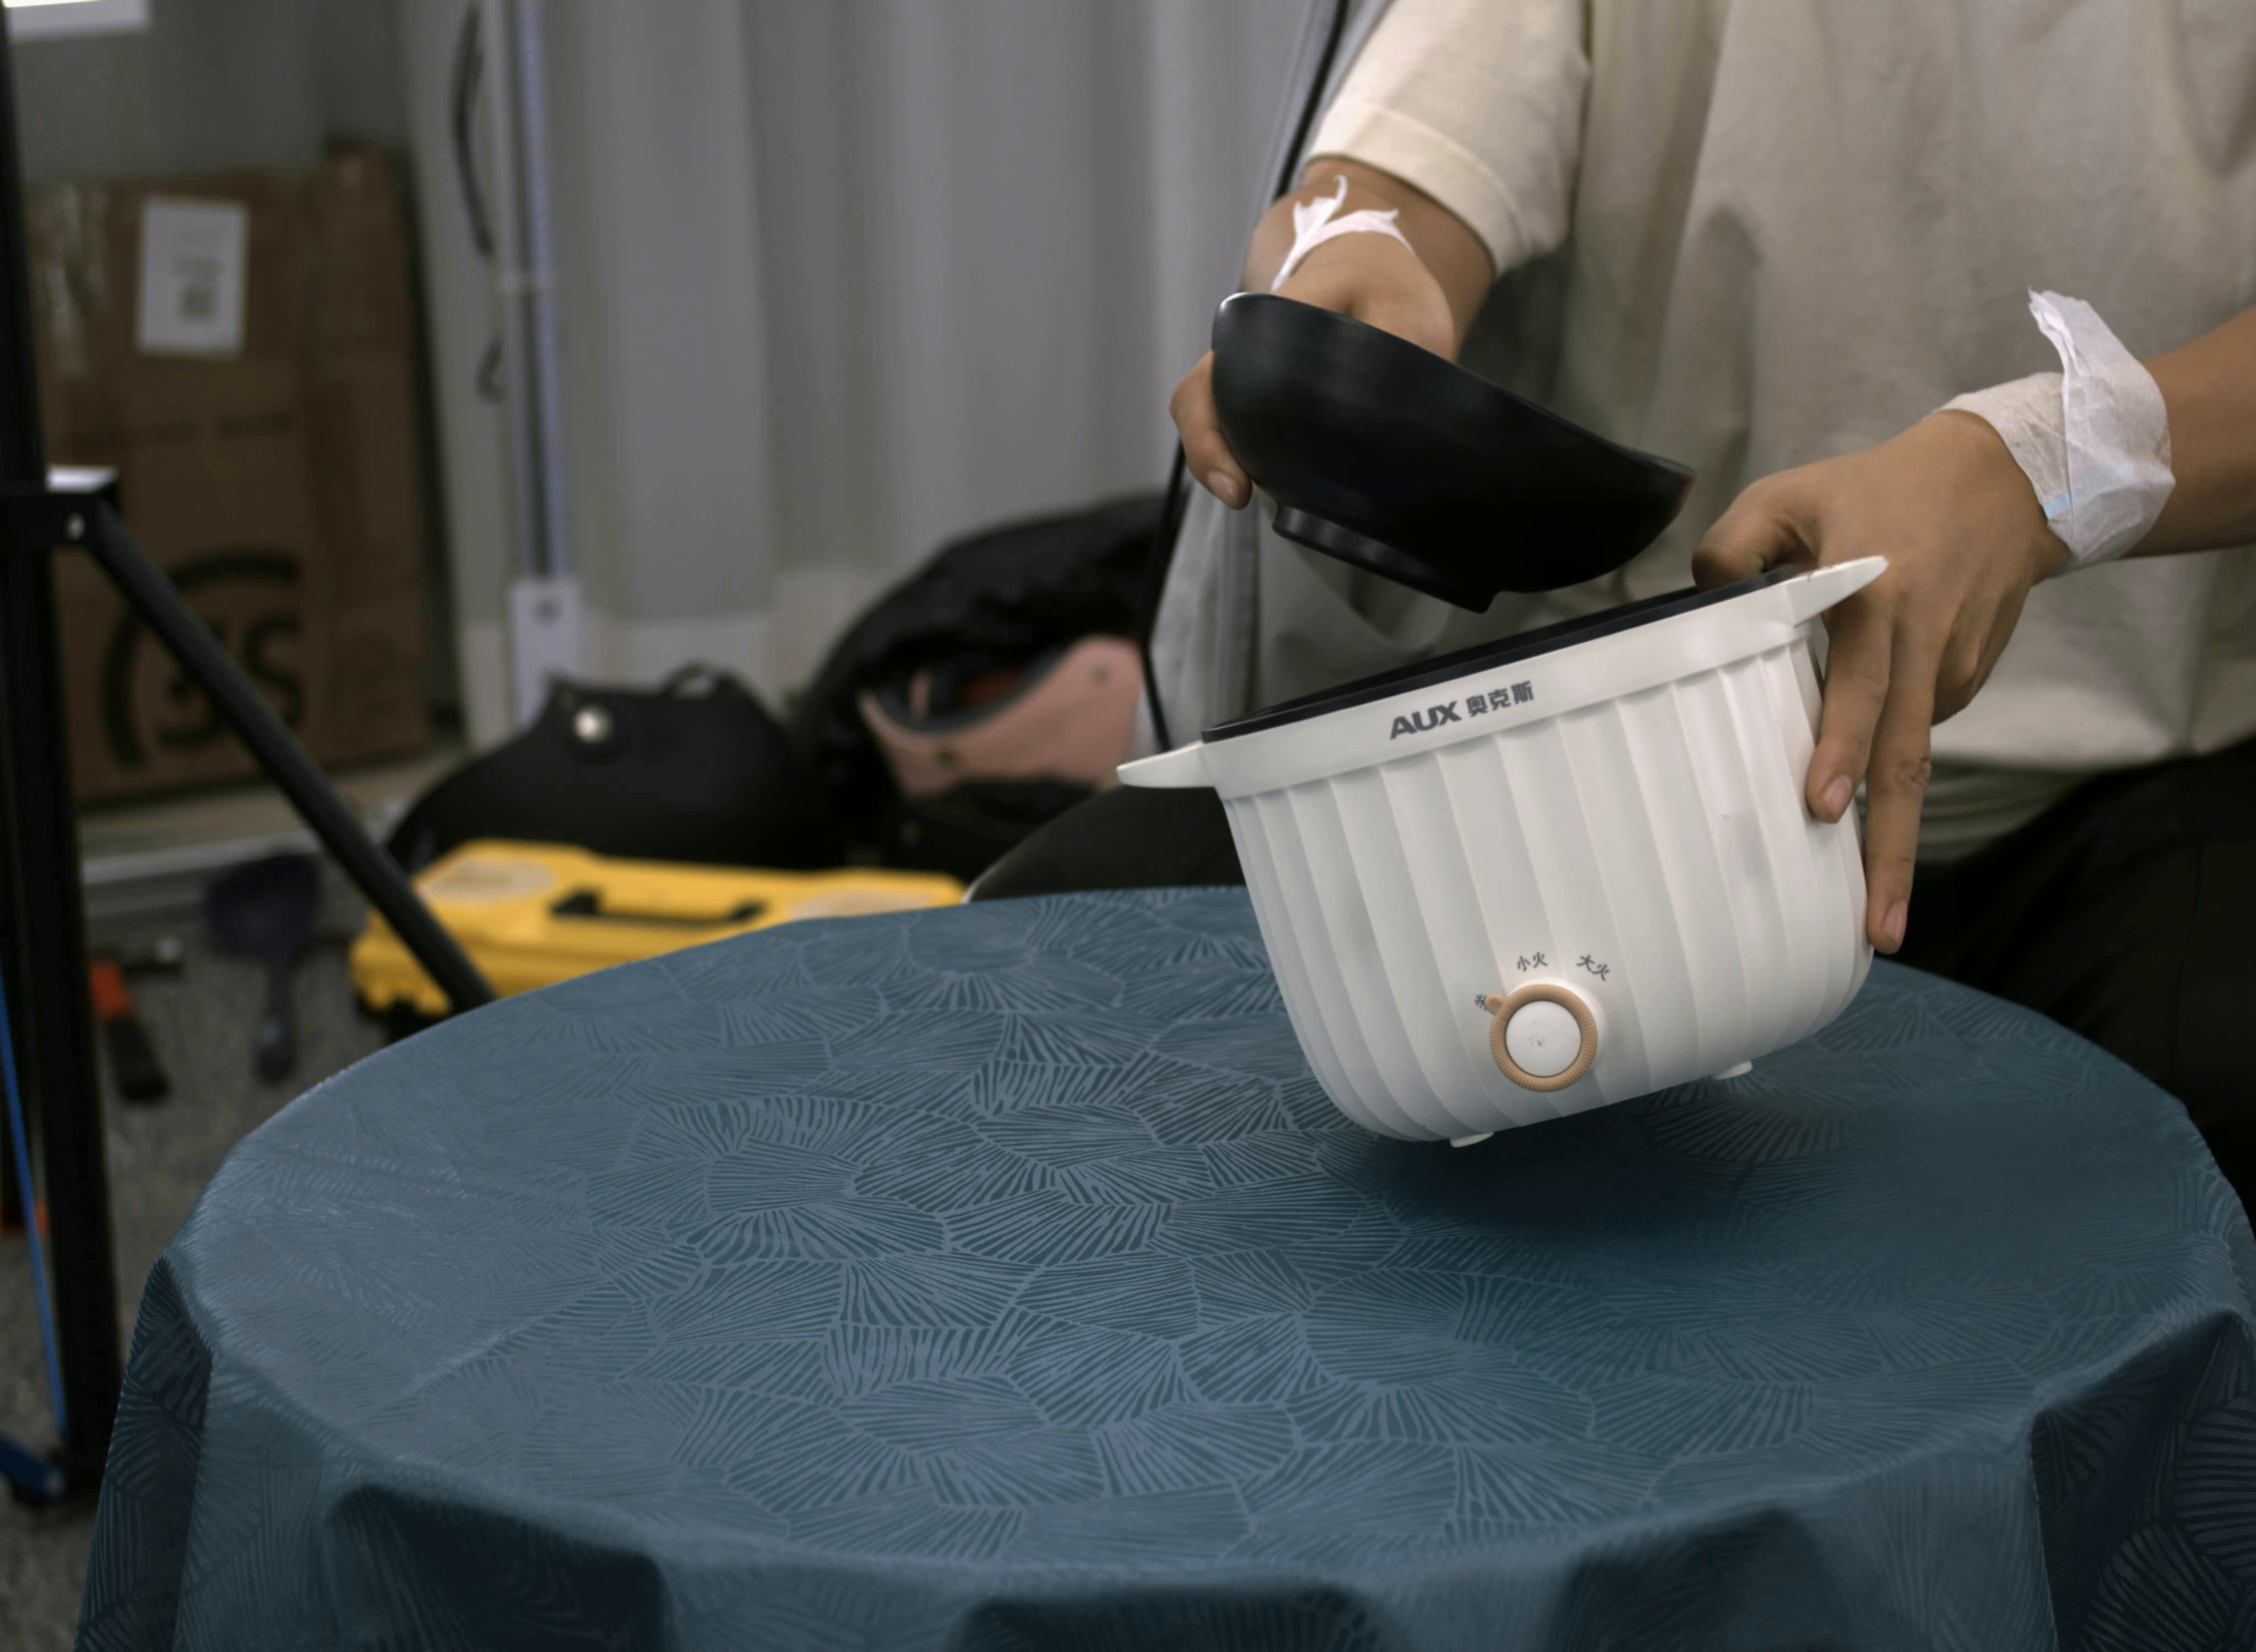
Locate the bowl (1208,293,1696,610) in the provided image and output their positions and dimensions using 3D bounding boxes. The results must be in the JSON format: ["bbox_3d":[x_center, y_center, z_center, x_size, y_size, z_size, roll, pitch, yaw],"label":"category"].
[{"bbox_3d":[0.084,-0.104,1.565,0.133,0.067,0.174,21,1,-39],"label":"bowl"}]

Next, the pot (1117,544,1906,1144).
[{"bbox_3d":[0.126,0.011,1.550,0.242,0.143,0.188,-16,-2,14],"label":"pot"}]
